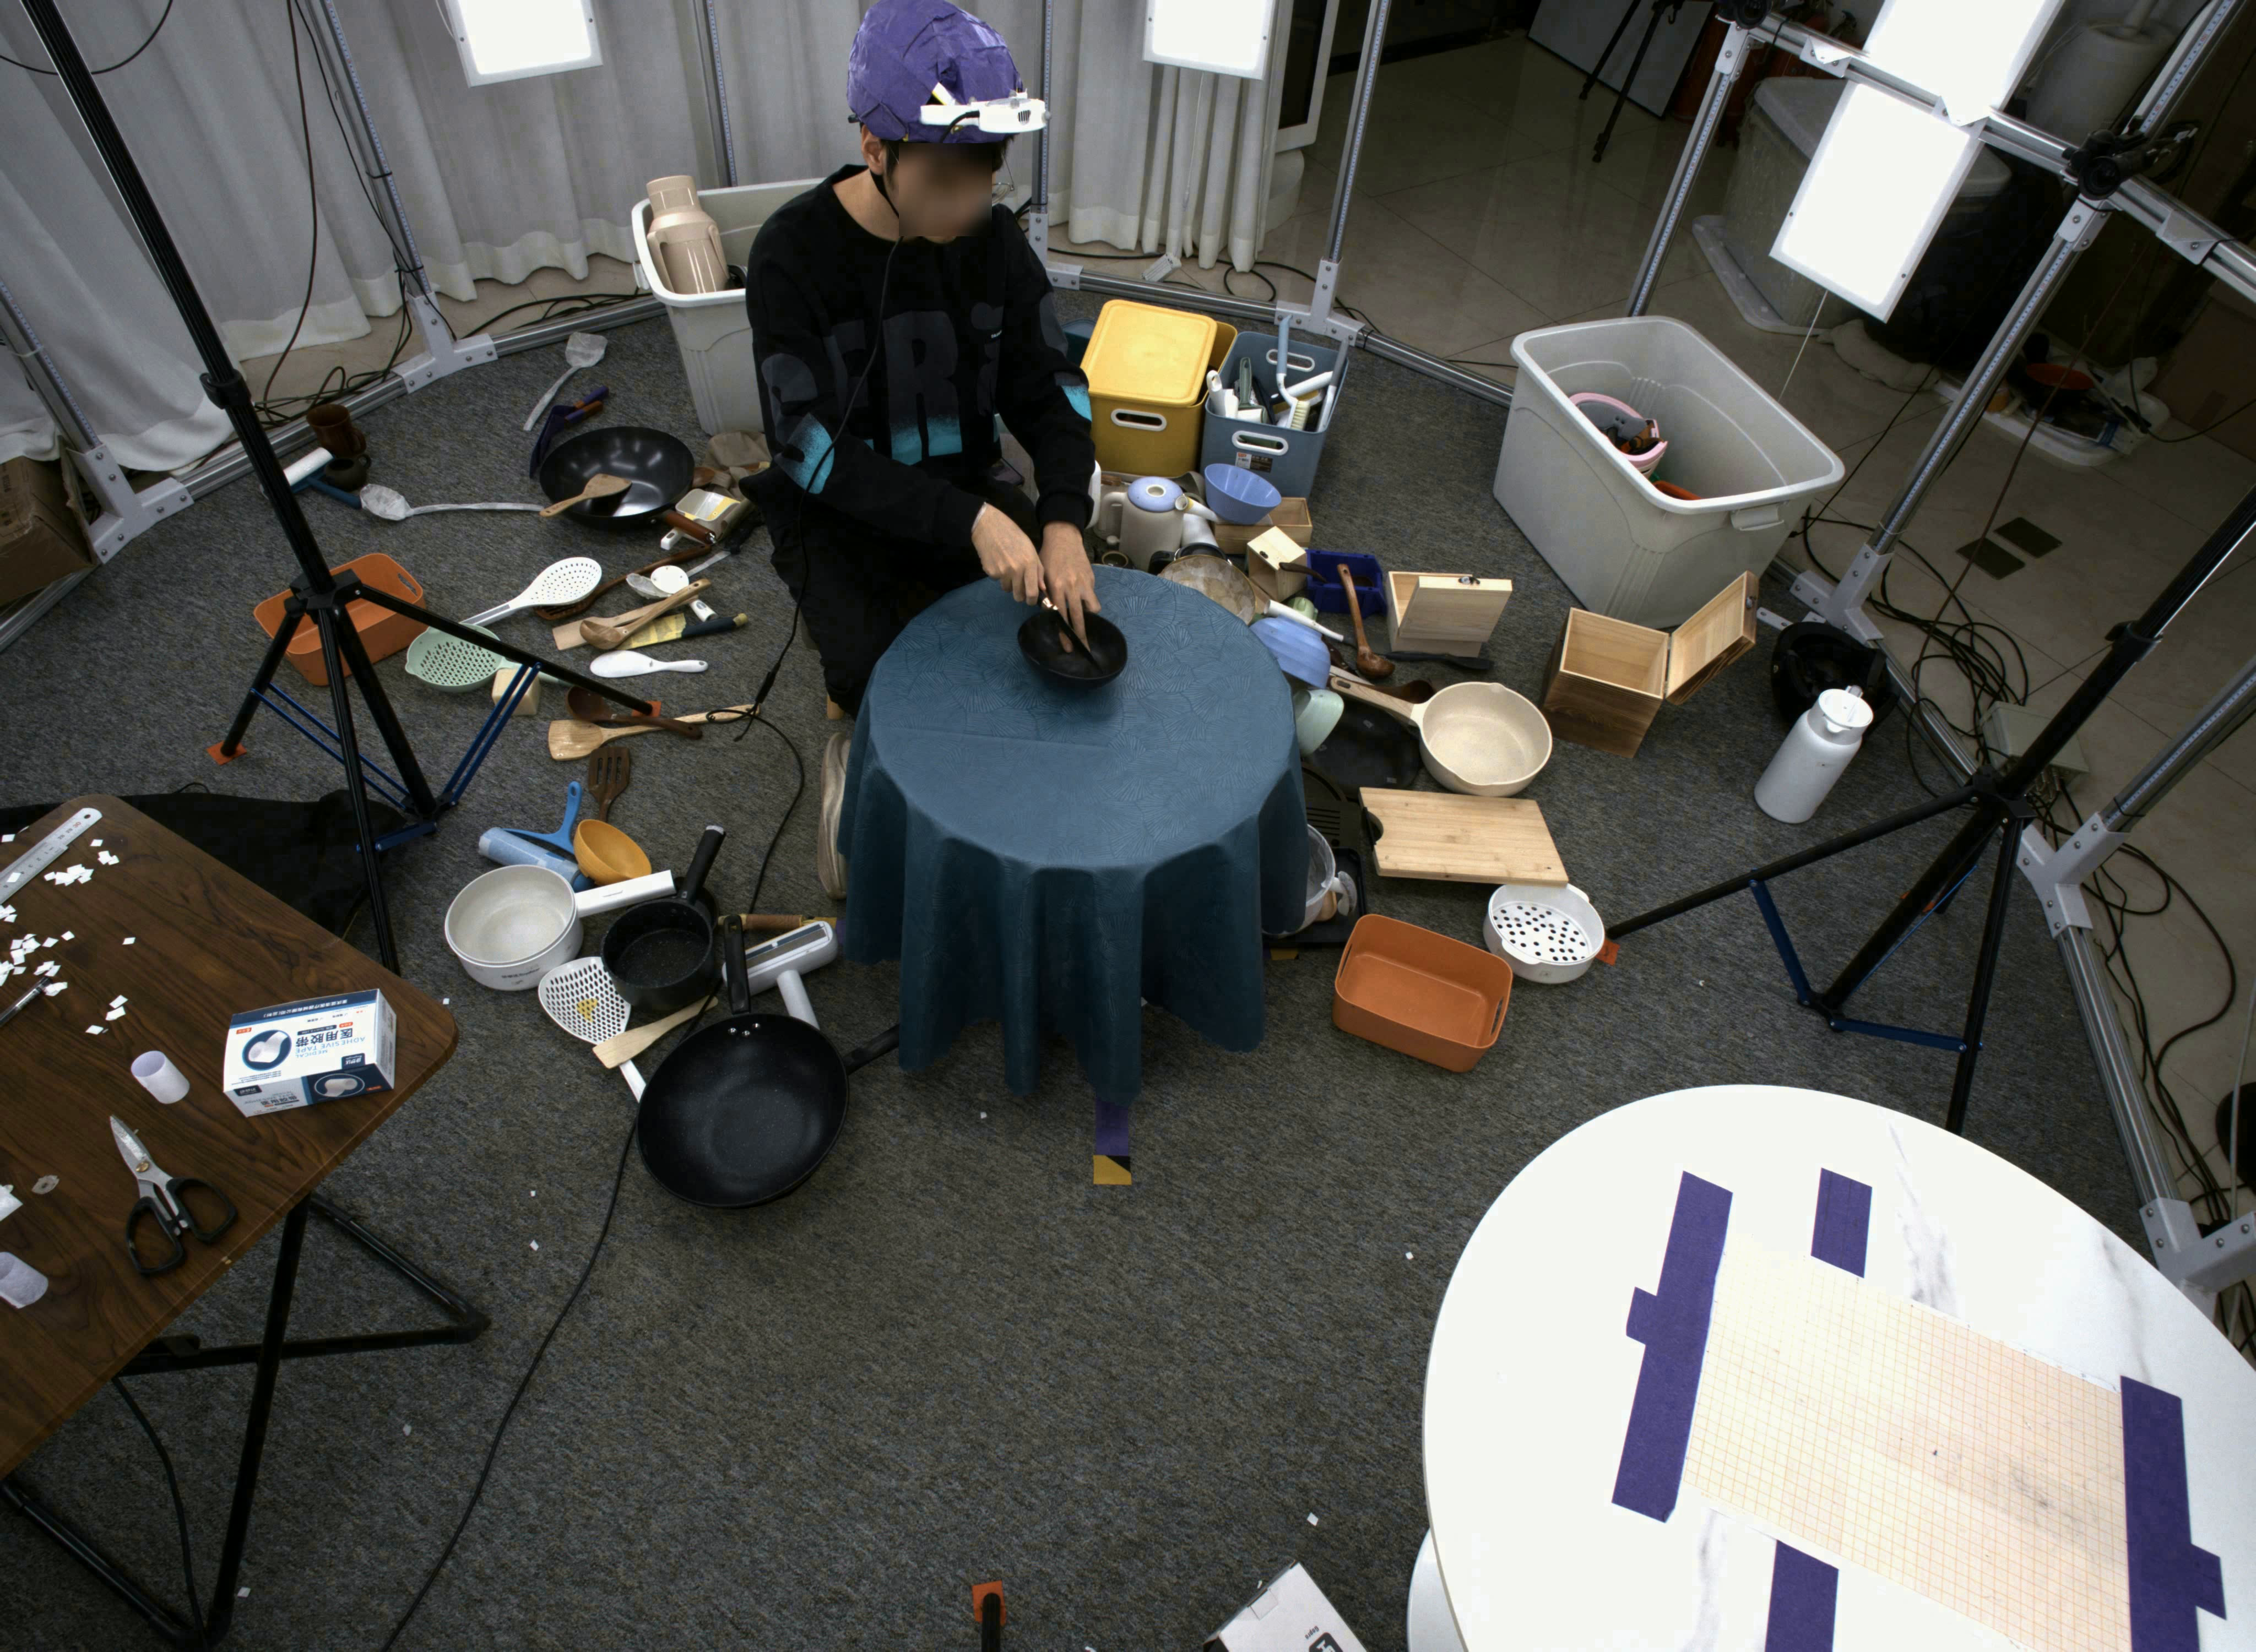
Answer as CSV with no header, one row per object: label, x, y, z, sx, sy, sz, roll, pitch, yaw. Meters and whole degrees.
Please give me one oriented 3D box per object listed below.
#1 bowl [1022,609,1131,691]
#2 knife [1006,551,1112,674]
bowl,-0.075,-0.240,1.831,0.172,0.065,0.139,31,54,23
knife,-0.097,-0.301,1.823,0.017,0.026,0.226,-38,88,-29
